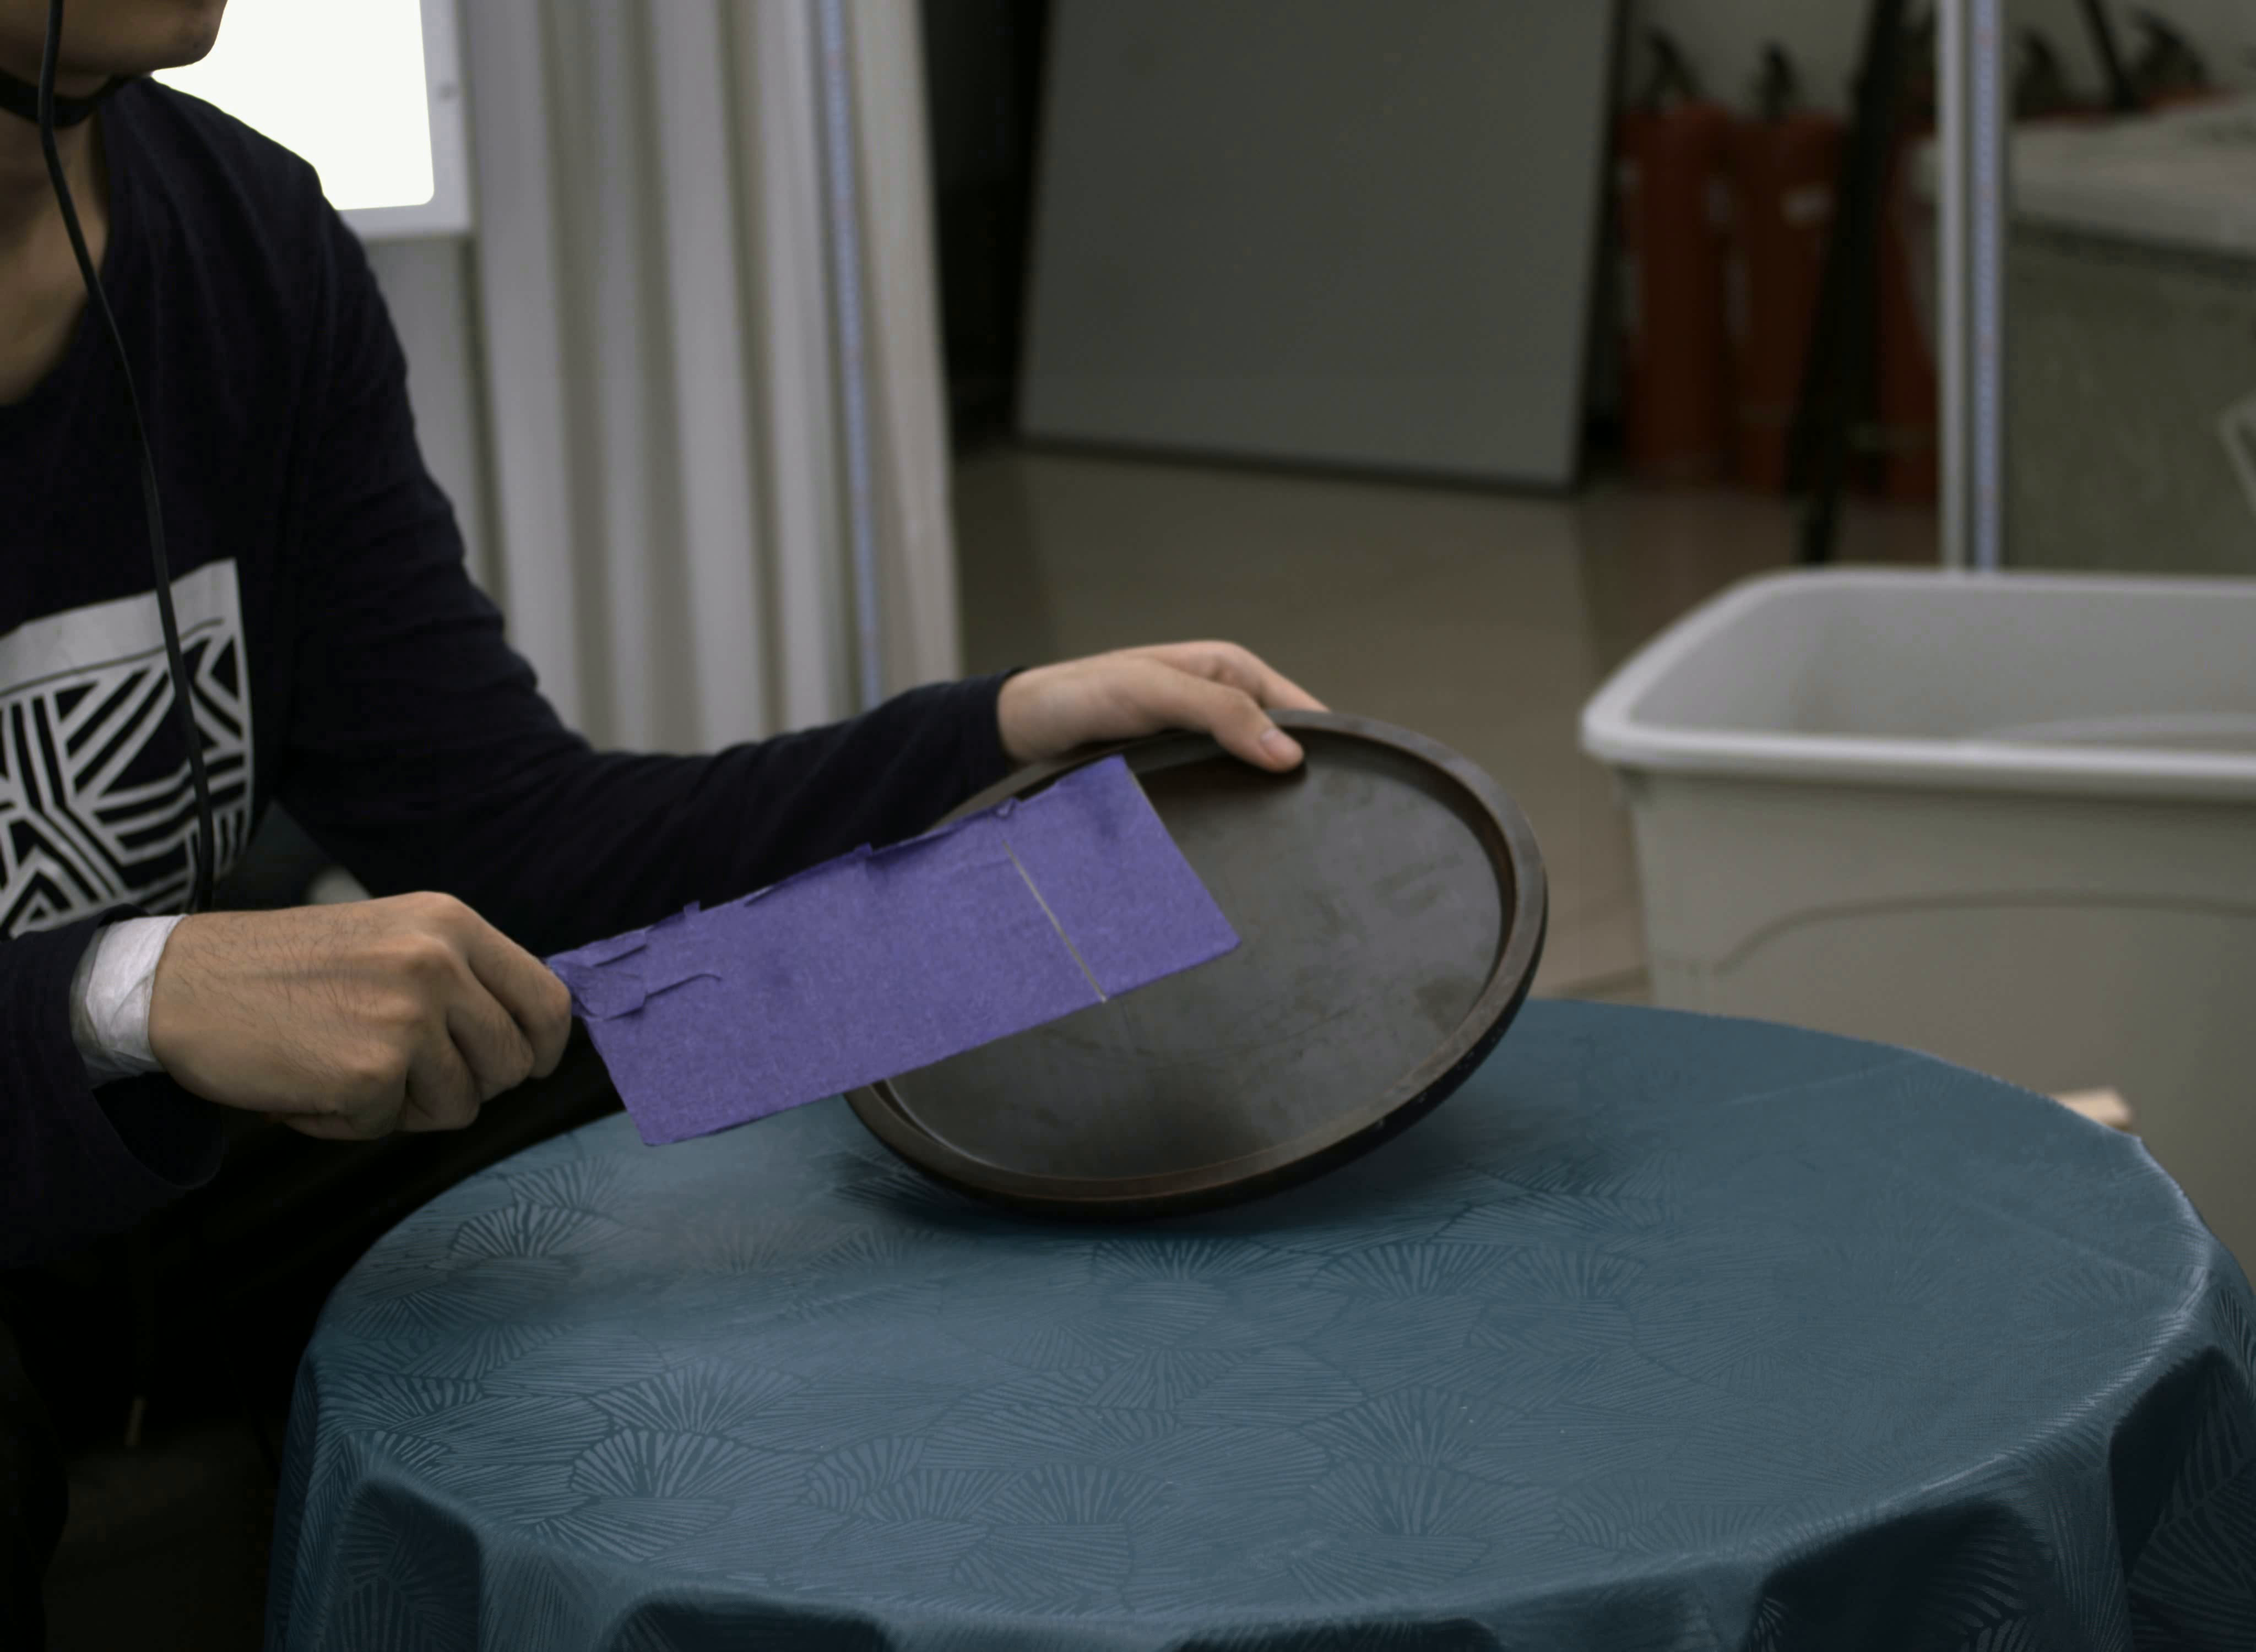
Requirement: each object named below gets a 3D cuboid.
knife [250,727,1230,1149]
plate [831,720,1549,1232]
[{"bbox_3d":[-0.120,0.052,1.725,0.310,0.032,0.105,-22,49,-12],"label":"knife"},{"bbox_3d":[0.020,0.049,1.821,0.253,0.029,0.256,-11,38,8],"label":"plate"}]
